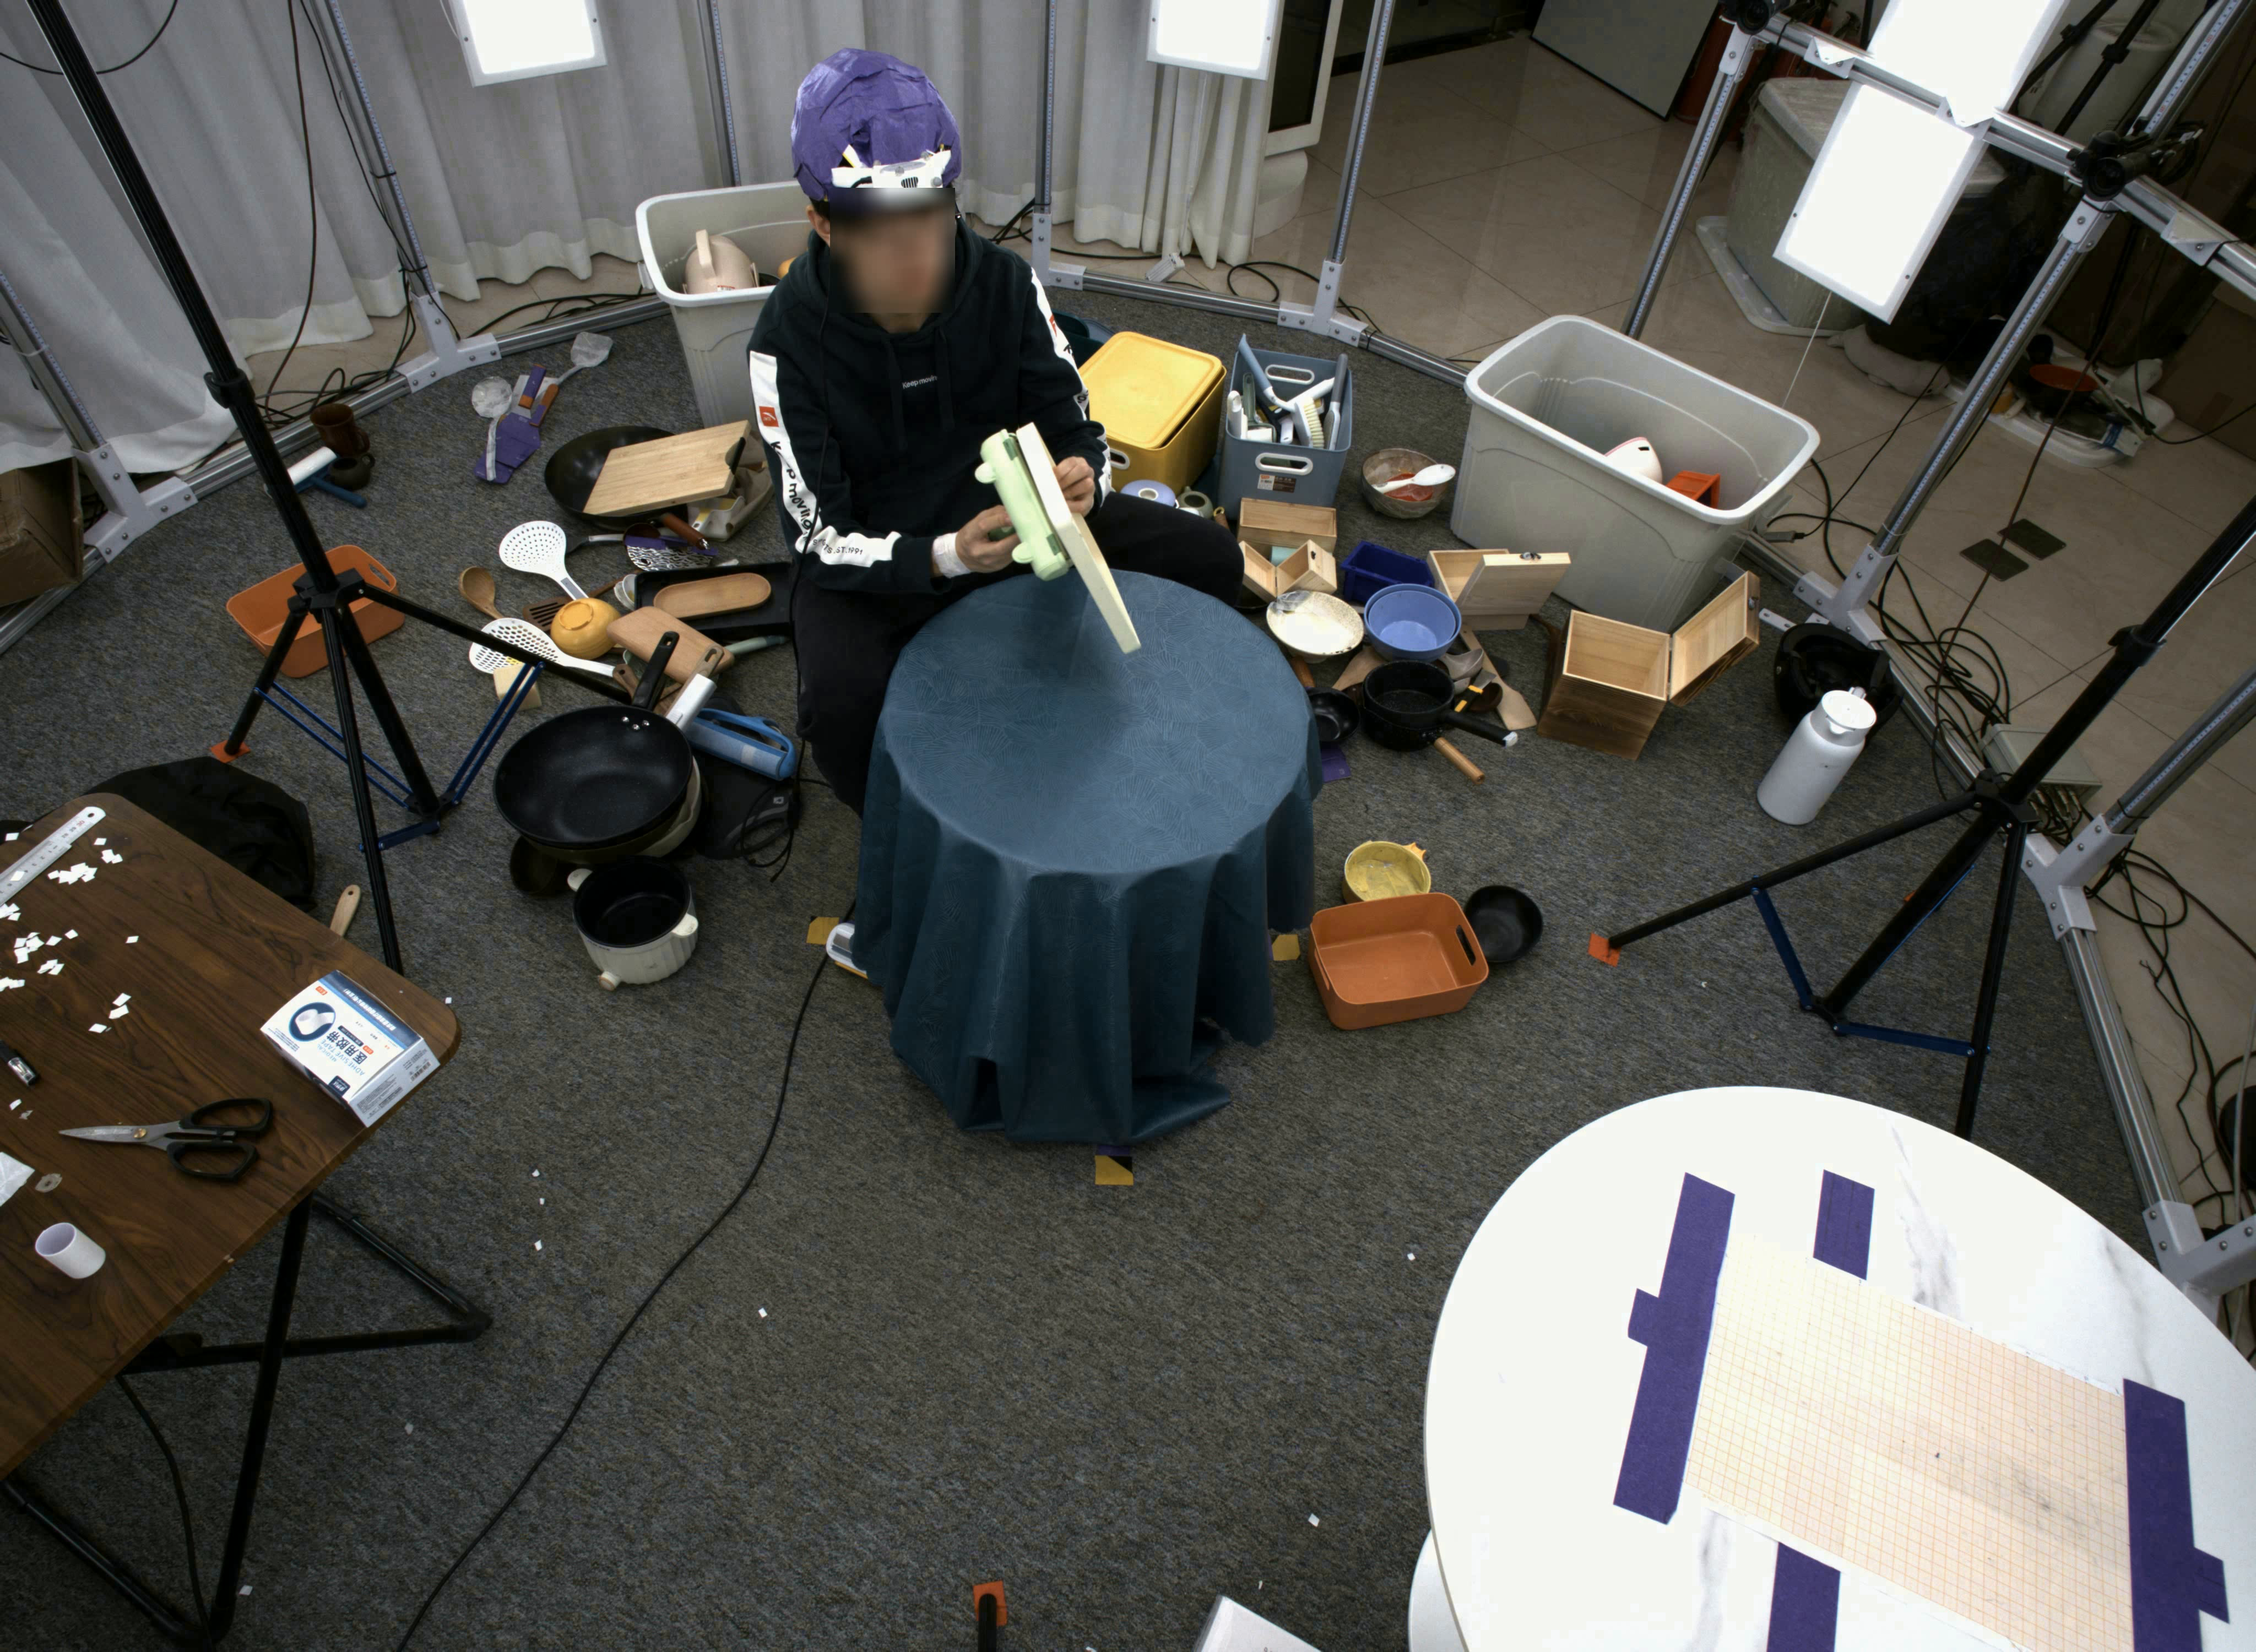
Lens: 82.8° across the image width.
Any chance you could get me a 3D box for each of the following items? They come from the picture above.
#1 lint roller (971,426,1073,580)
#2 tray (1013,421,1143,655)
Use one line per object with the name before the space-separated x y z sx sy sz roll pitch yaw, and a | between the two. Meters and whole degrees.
lint roller | -0.166 -0.401 1.712 0.082 0.182 0.199 -23 88 -33
tray | -0.064 -0.378 1.721 0.027 0.293 0.196 -25 55 7
